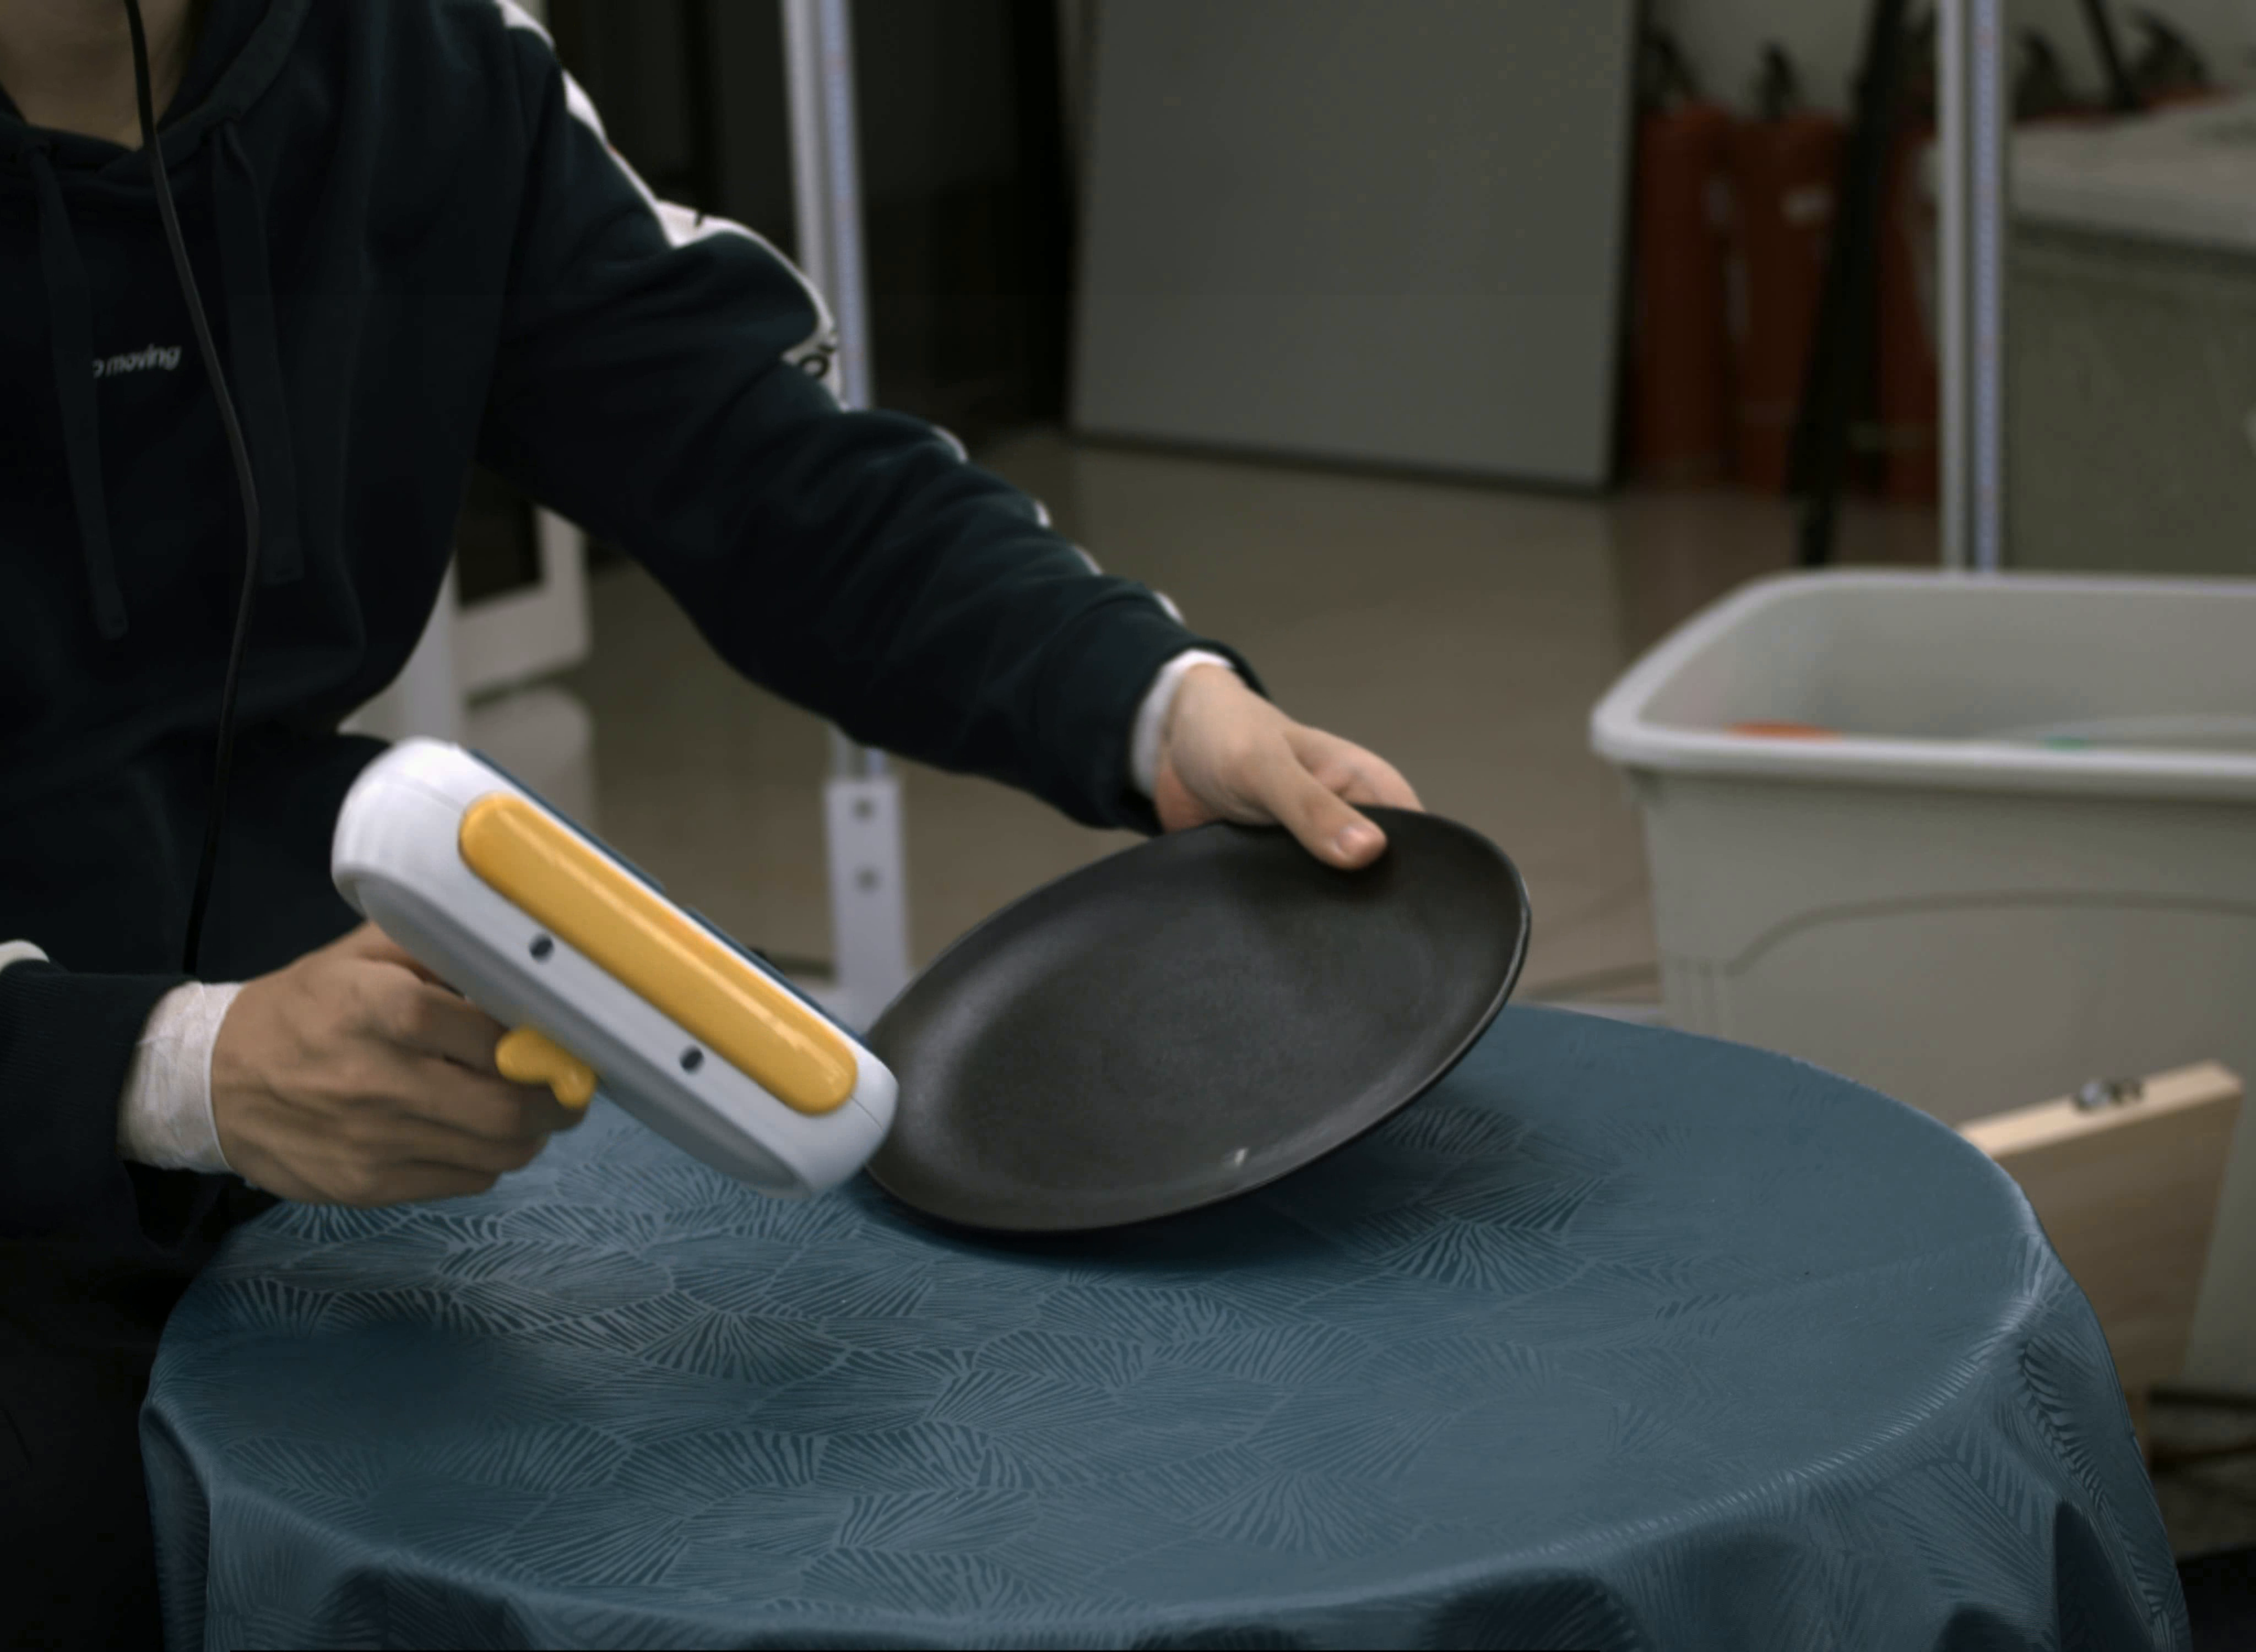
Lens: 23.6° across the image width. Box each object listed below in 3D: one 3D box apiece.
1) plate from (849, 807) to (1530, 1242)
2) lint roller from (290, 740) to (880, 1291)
[{"bbox_3d":[0.021,0.070,1.795,0.243,0.023,0.245,-18,27,8],"label":"plate"},{"bbox_3d":[-0.190,0.078,1.643,0.194,0.190,0.074,-43,20,48],"label":"lint roller"}]
